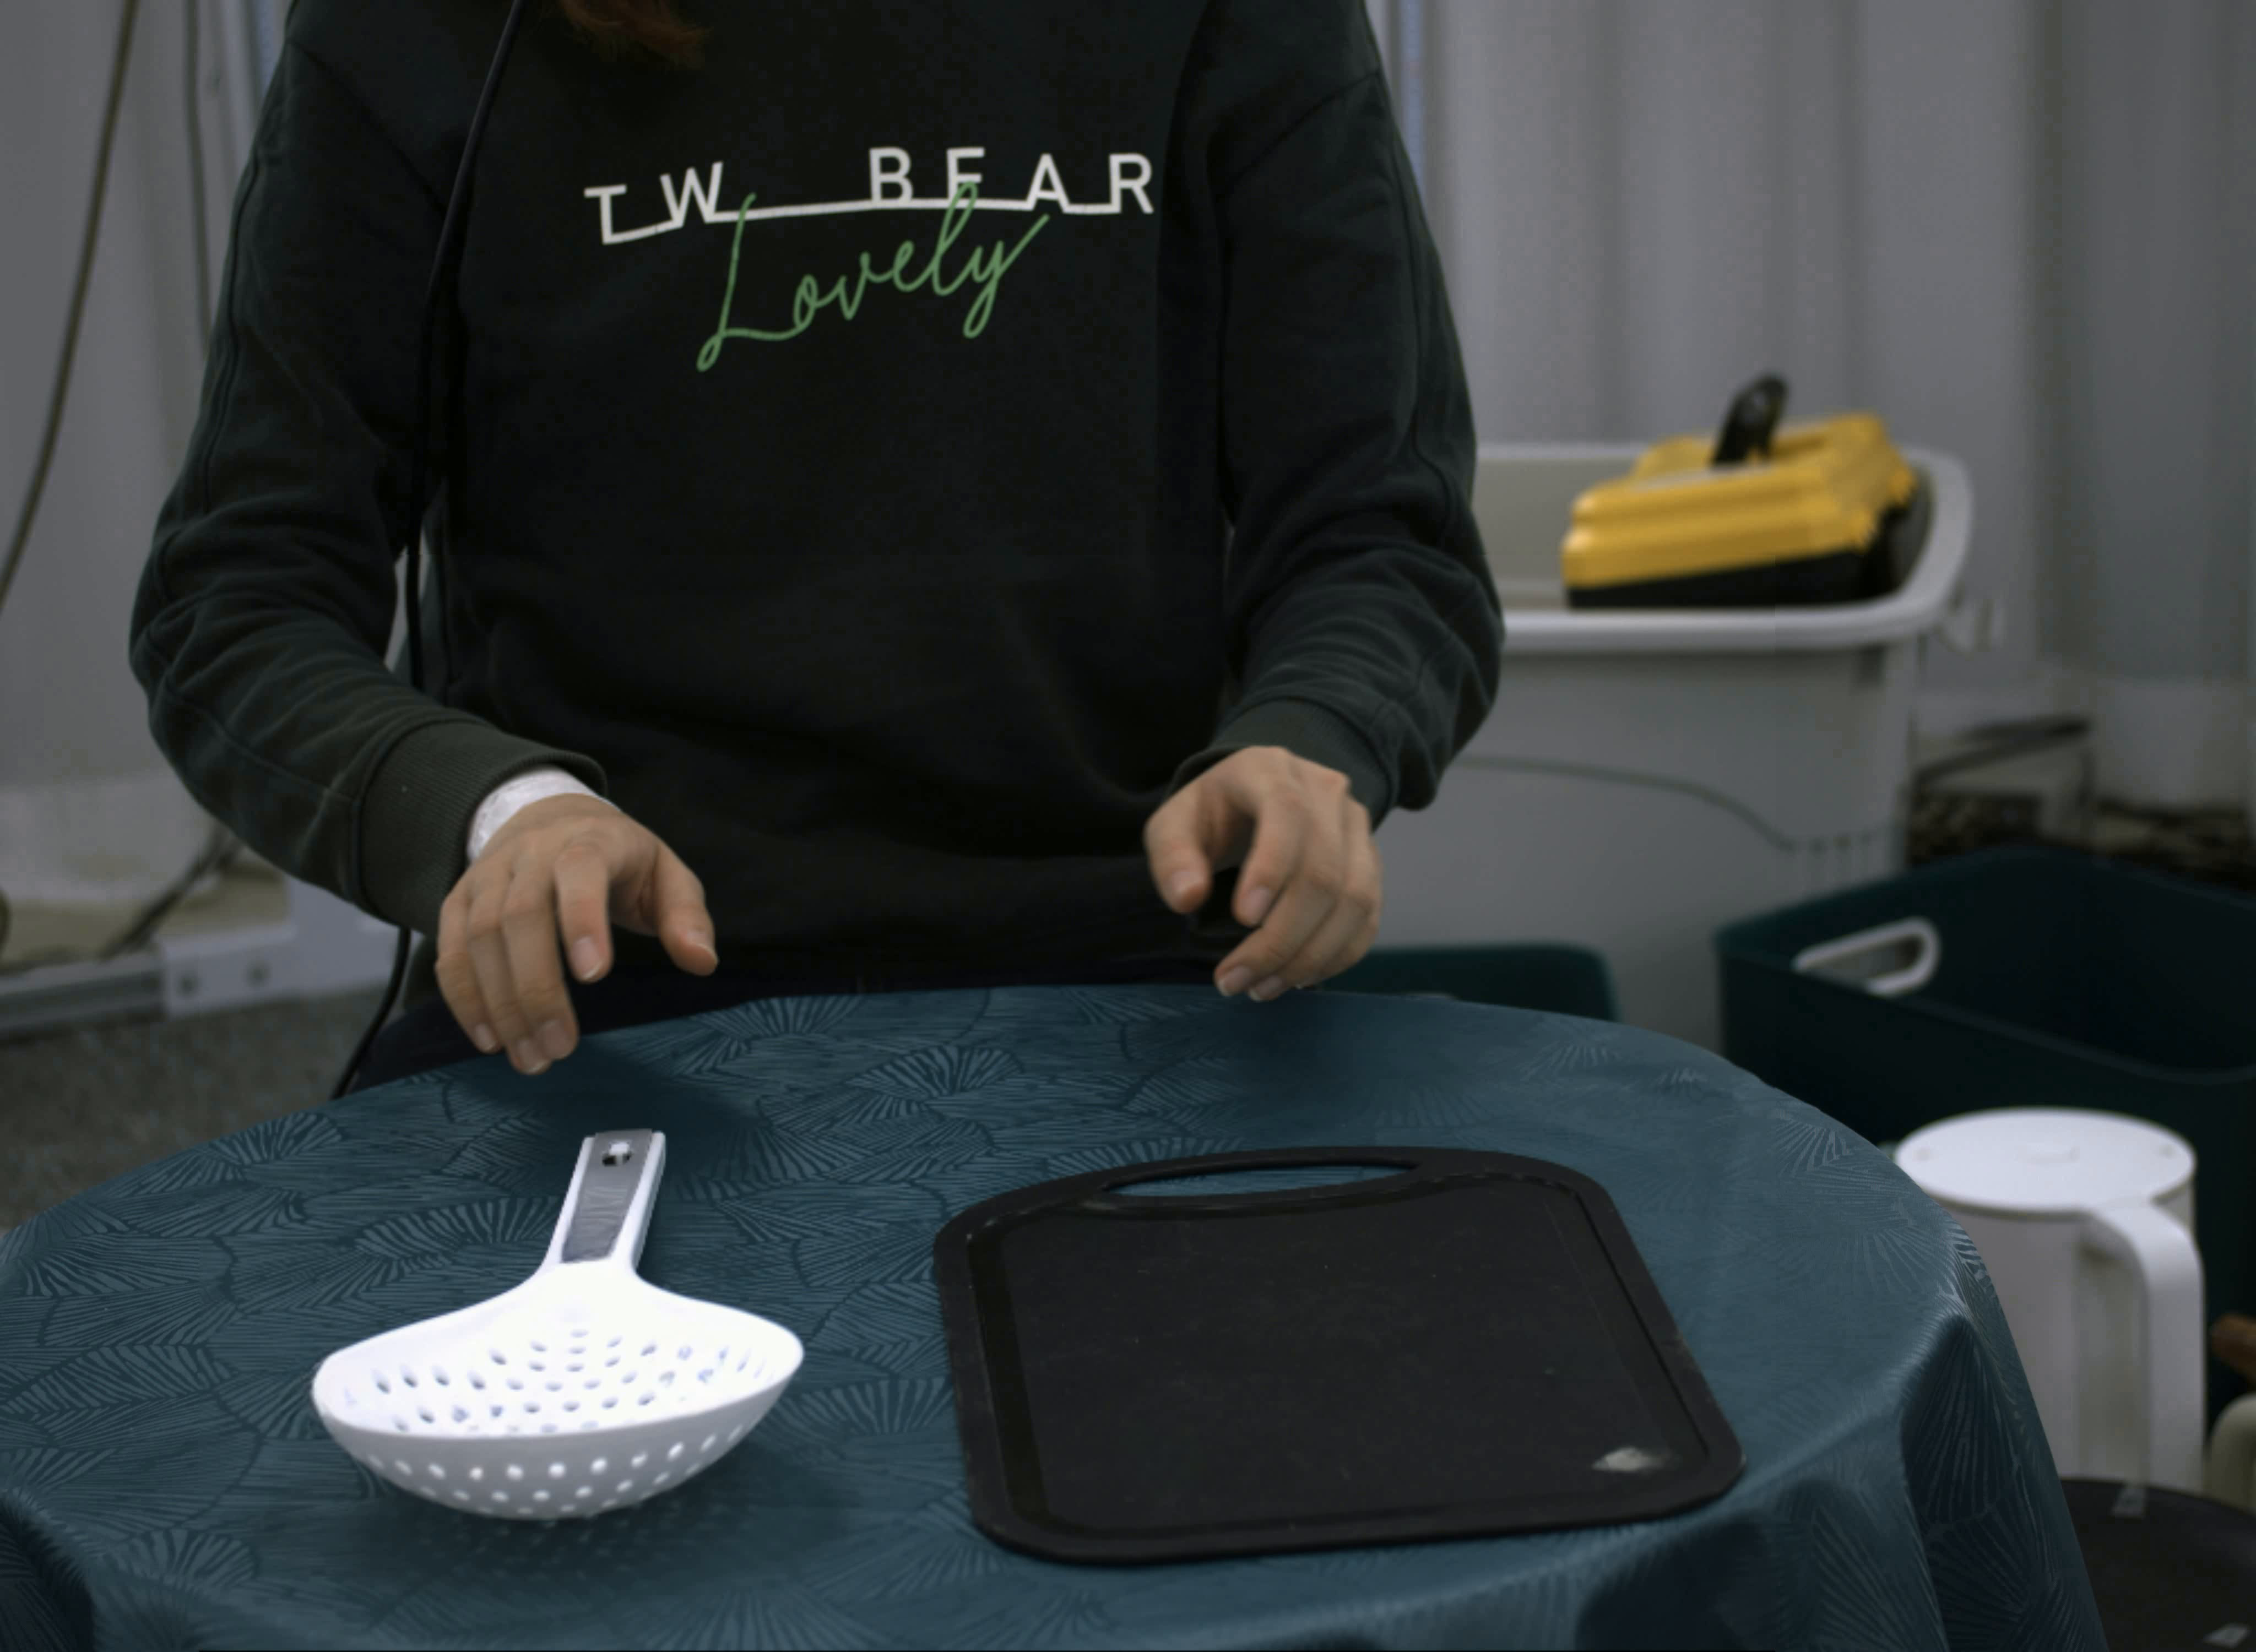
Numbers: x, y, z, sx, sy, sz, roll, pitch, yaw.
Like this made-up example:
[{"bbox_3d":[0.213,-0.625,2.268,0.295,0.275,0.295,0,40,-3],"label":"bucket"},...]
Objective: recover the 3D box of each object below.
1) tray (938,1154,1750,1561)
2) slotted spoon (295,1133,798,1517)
[{"bbox_3d":[0.053,0.145,1.576,0.210,0.010,0.328,-3,15,-4],"label":"tray"},{"bbox_3d":[-0.158,0.135,1.581,0.135,0.045,0.352,-2,14,-1],"label":"slotted spoon"}]
